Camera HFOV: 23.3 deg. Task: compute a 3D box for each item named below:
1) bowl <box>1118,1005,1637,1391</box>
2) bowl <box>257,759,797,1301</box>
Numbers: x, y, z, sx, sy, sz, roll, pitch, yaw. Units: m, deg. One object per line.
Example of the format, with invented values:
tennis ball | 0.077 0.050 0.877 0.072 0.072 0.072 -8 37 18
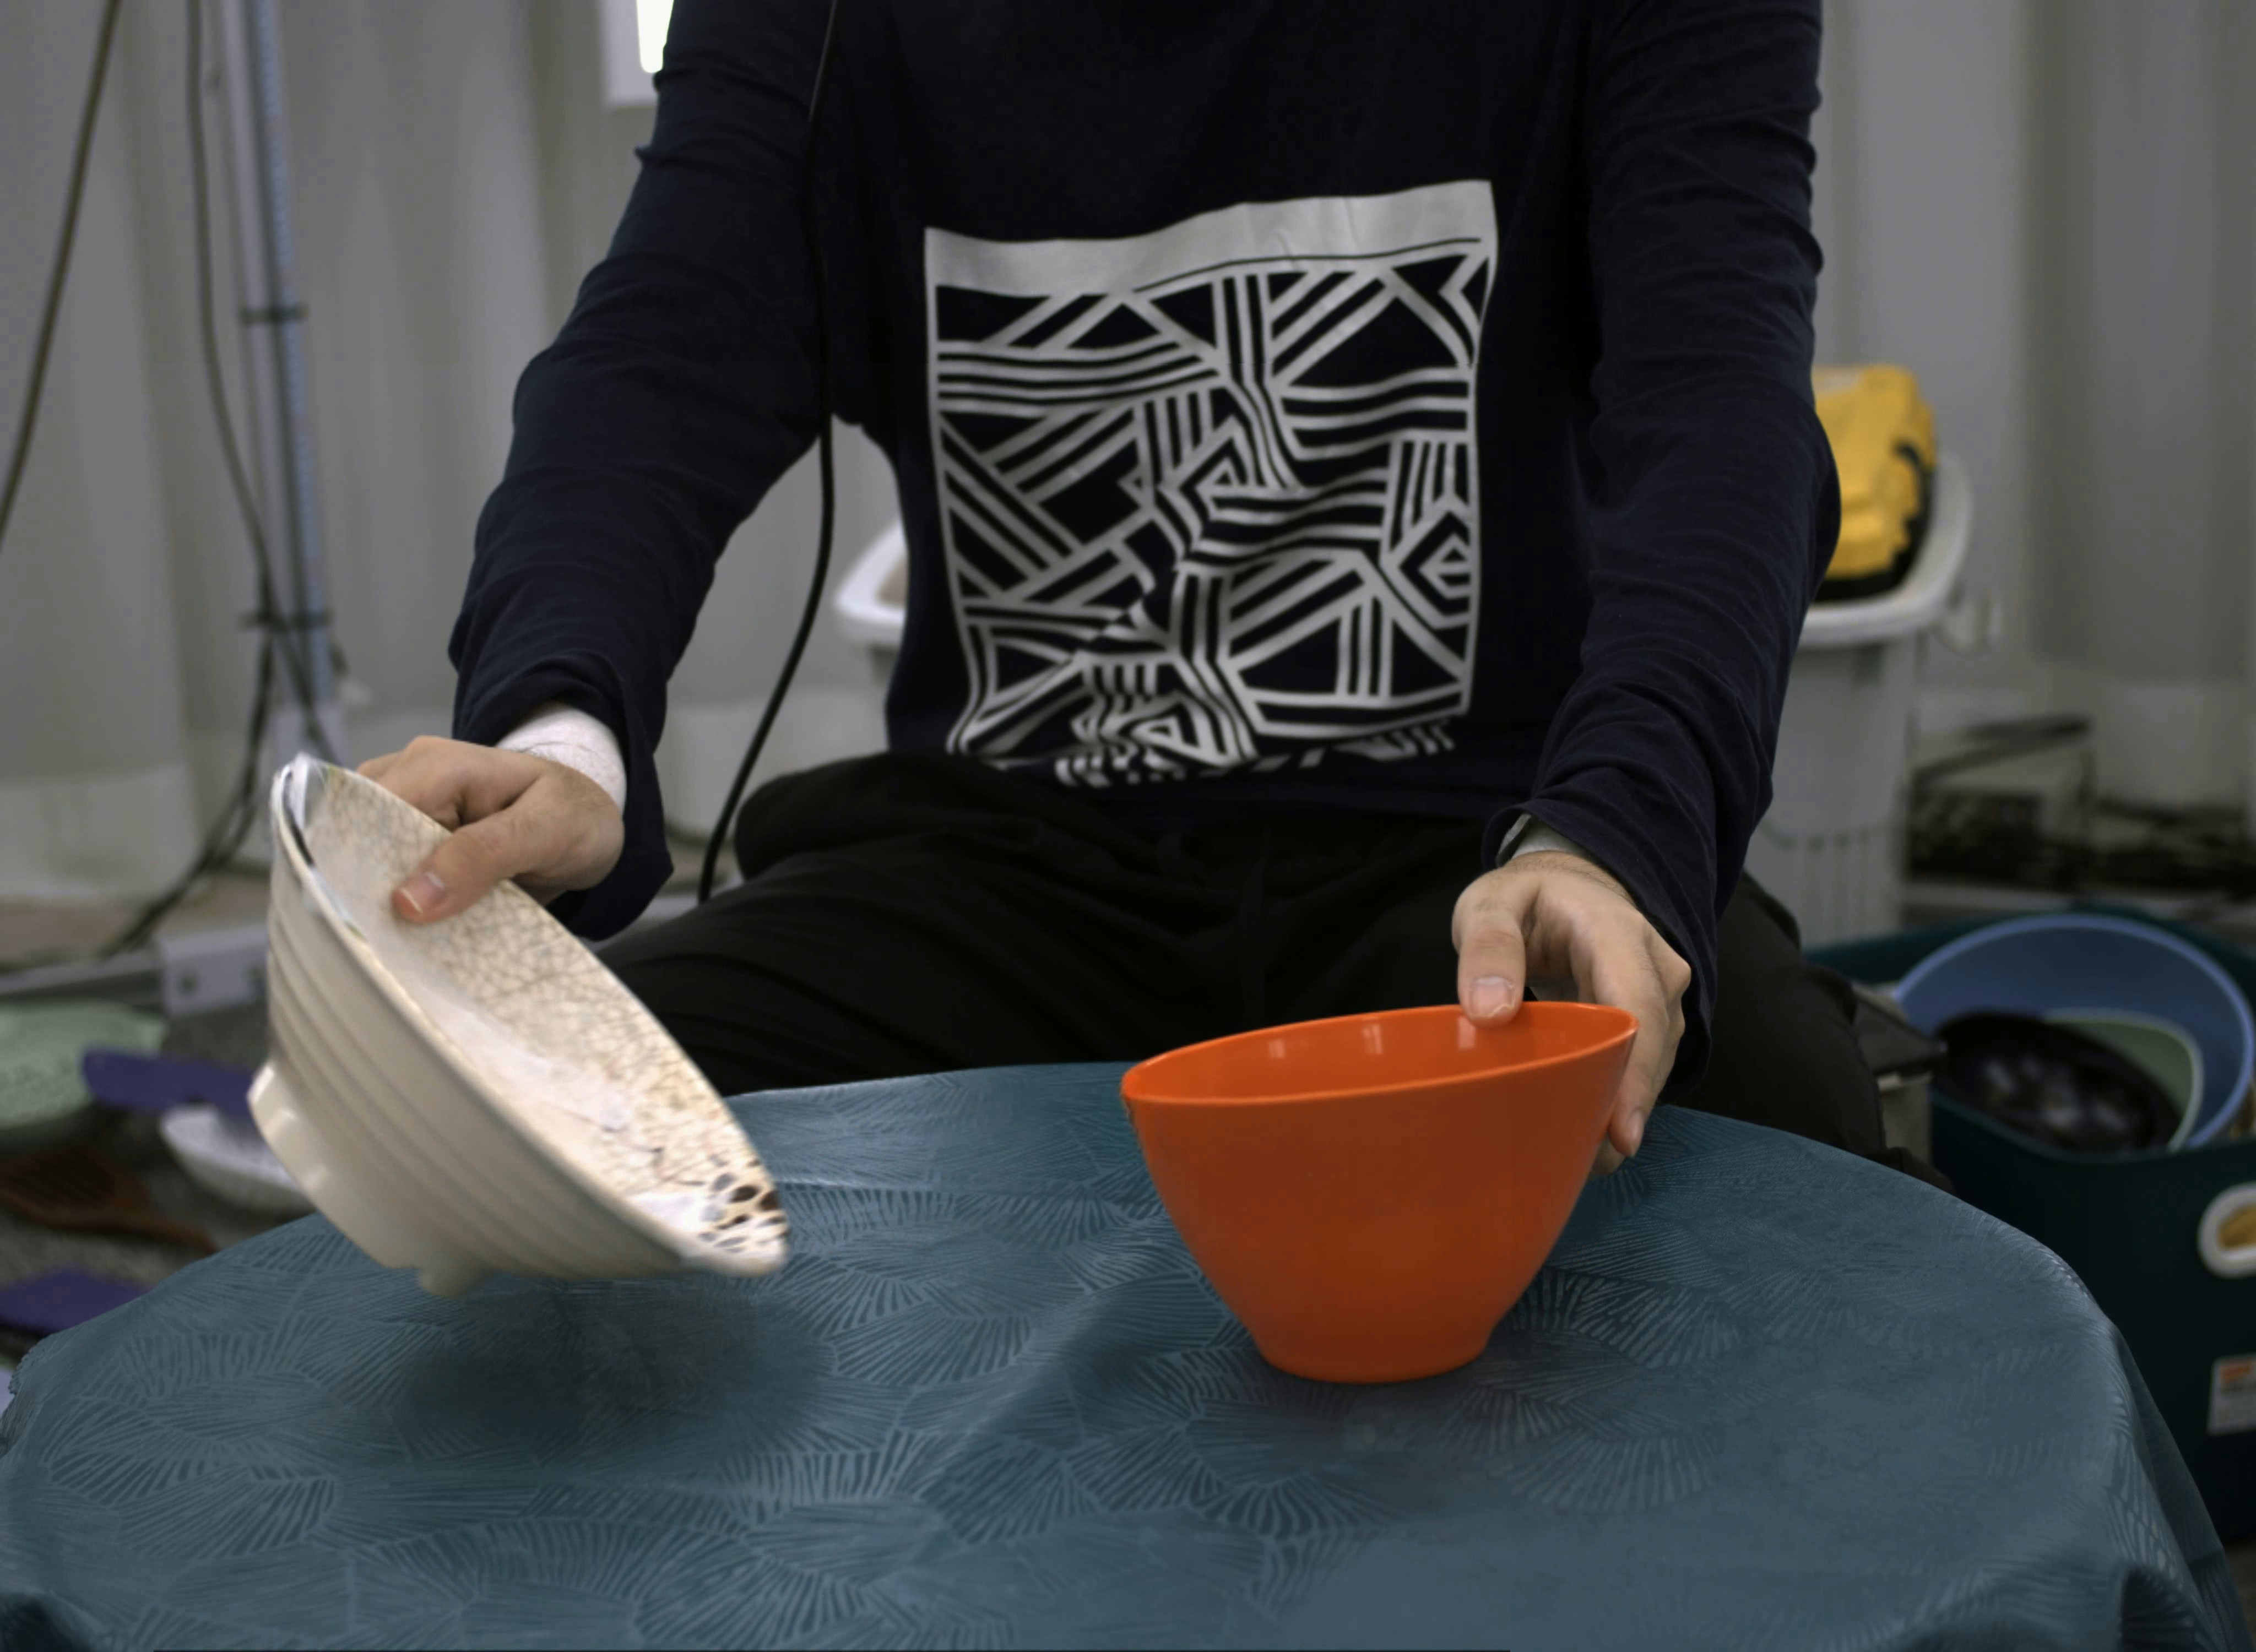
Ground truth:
bowl | 0.072 0.104 1.550 0.147 0.104 0.149 -4 13 1
bowl | -0.193 0.079 1.577 0.078 0.203 0.205 -45 13 8
